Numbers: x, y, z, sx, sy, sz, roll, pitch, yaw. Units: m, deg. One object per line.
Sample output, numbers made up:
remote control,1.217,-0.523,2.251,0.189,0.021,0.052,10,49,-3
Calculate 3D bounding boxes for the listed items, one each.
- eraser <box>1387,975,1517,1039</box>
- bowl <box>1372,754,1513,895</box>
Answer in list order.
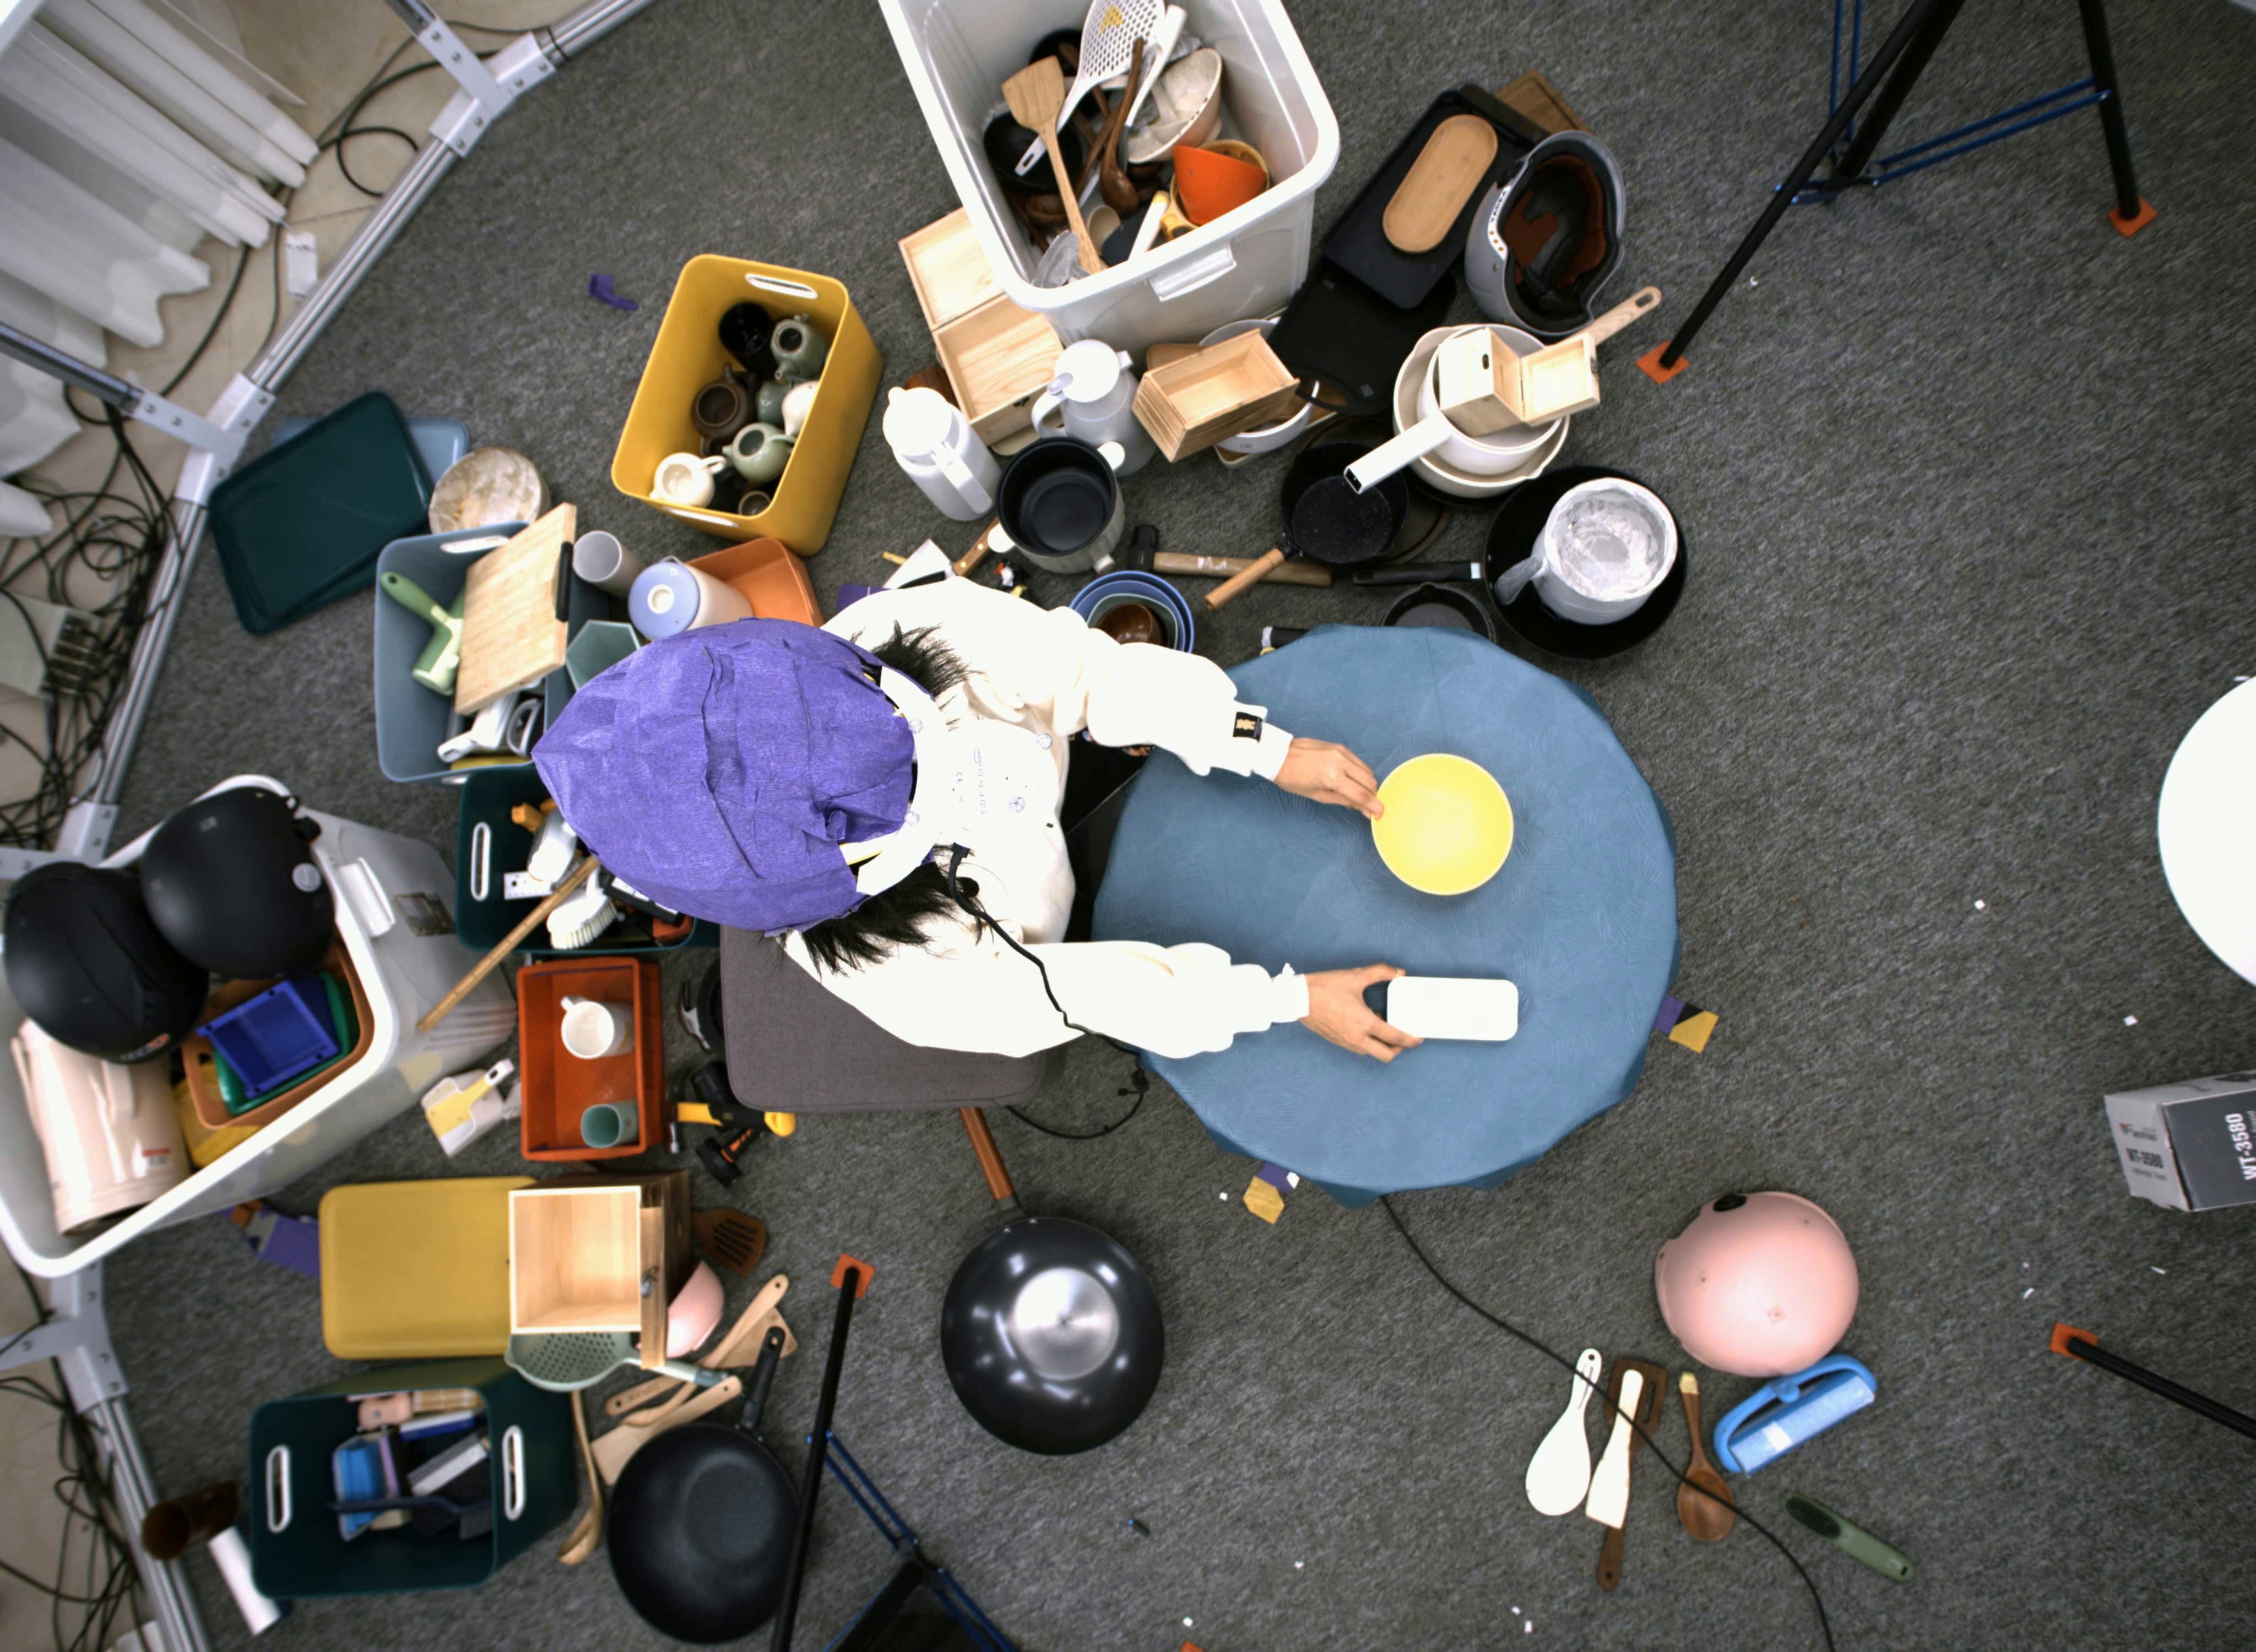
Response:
eraser,0.334,0.184,1.426,0.132,0.034,0.063,2,88,10
bowl,0.318,0.000,1.421,0.145,0.060,0.144,0,84,0
